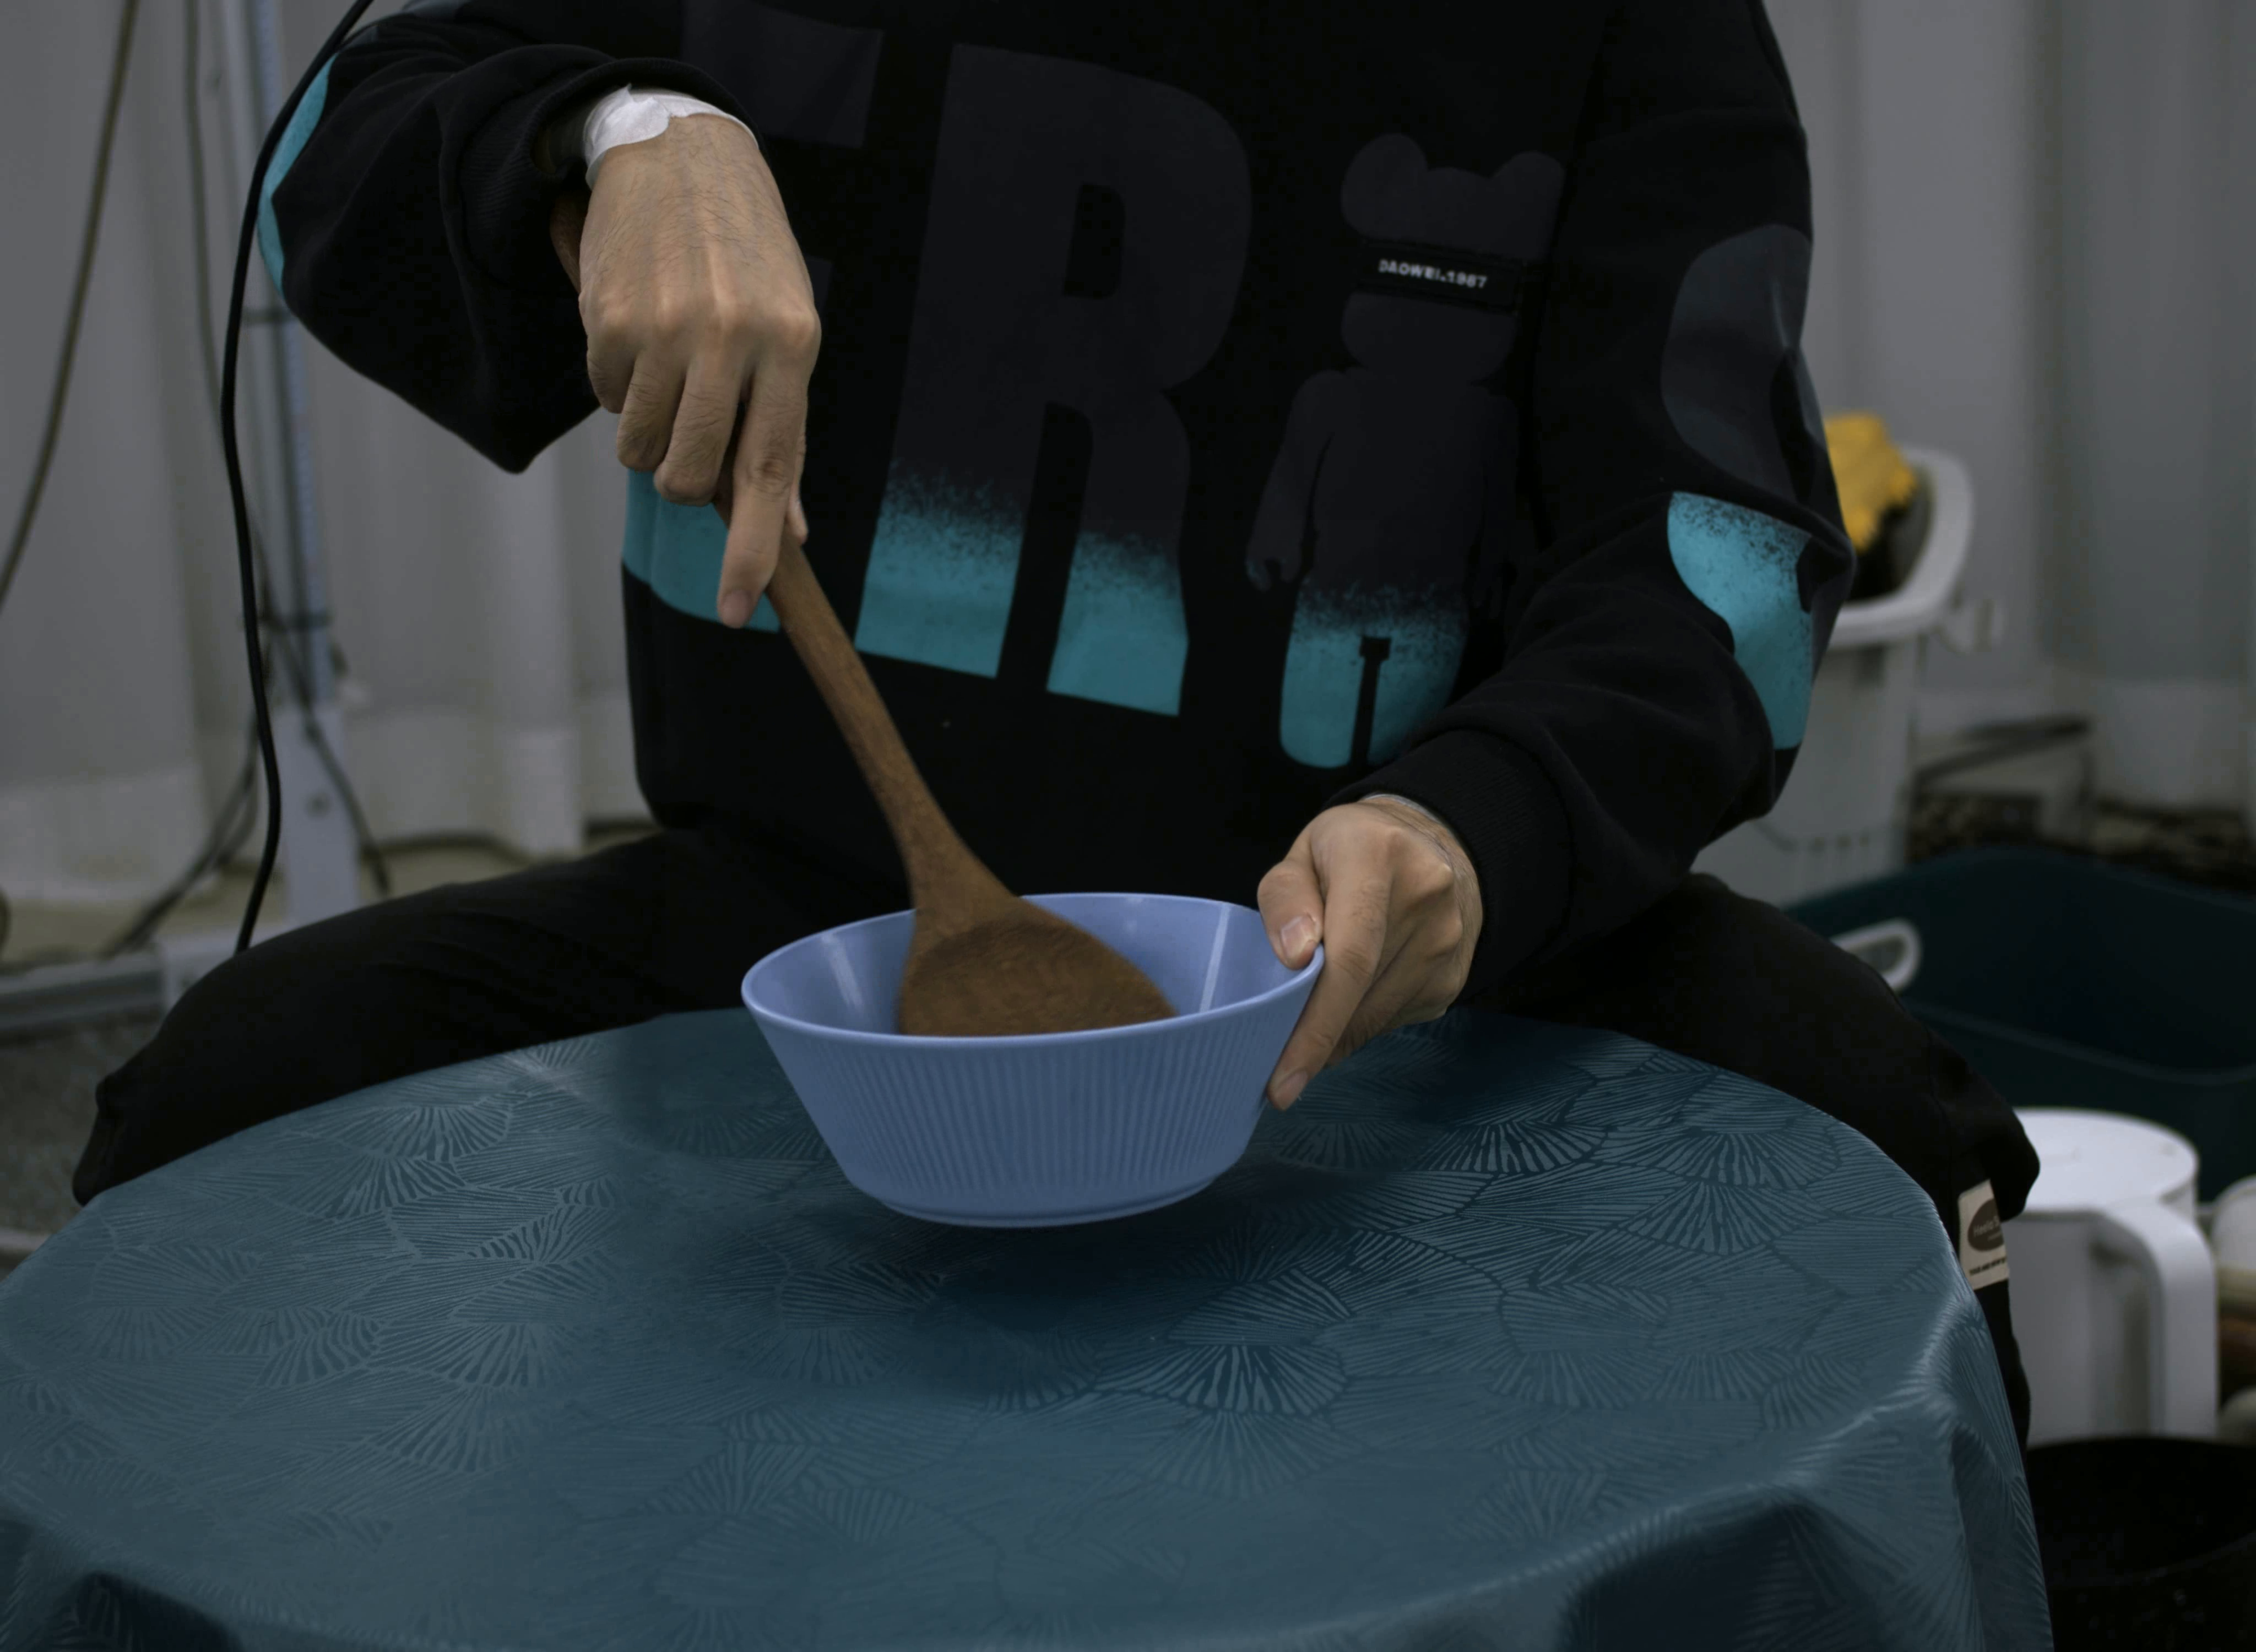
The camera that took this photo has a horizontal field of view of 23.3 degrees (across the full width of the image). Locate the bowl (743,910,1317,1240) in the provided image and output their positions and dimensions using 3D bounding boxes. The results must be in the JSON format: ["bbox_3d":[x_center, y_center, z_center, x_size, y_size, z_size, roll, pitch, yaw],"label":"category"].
[{"bbox_3d":[-0.026,0.077,1.653,0.175,0.070,0.177,-8,11,1],"label":"bowl"}]

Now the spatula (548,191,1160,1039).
[{"bbox_3d":[-0.095,-0.052,1.716,0.096,0.390,0.015,-14,-27,-33],"label":"spatula"}]
